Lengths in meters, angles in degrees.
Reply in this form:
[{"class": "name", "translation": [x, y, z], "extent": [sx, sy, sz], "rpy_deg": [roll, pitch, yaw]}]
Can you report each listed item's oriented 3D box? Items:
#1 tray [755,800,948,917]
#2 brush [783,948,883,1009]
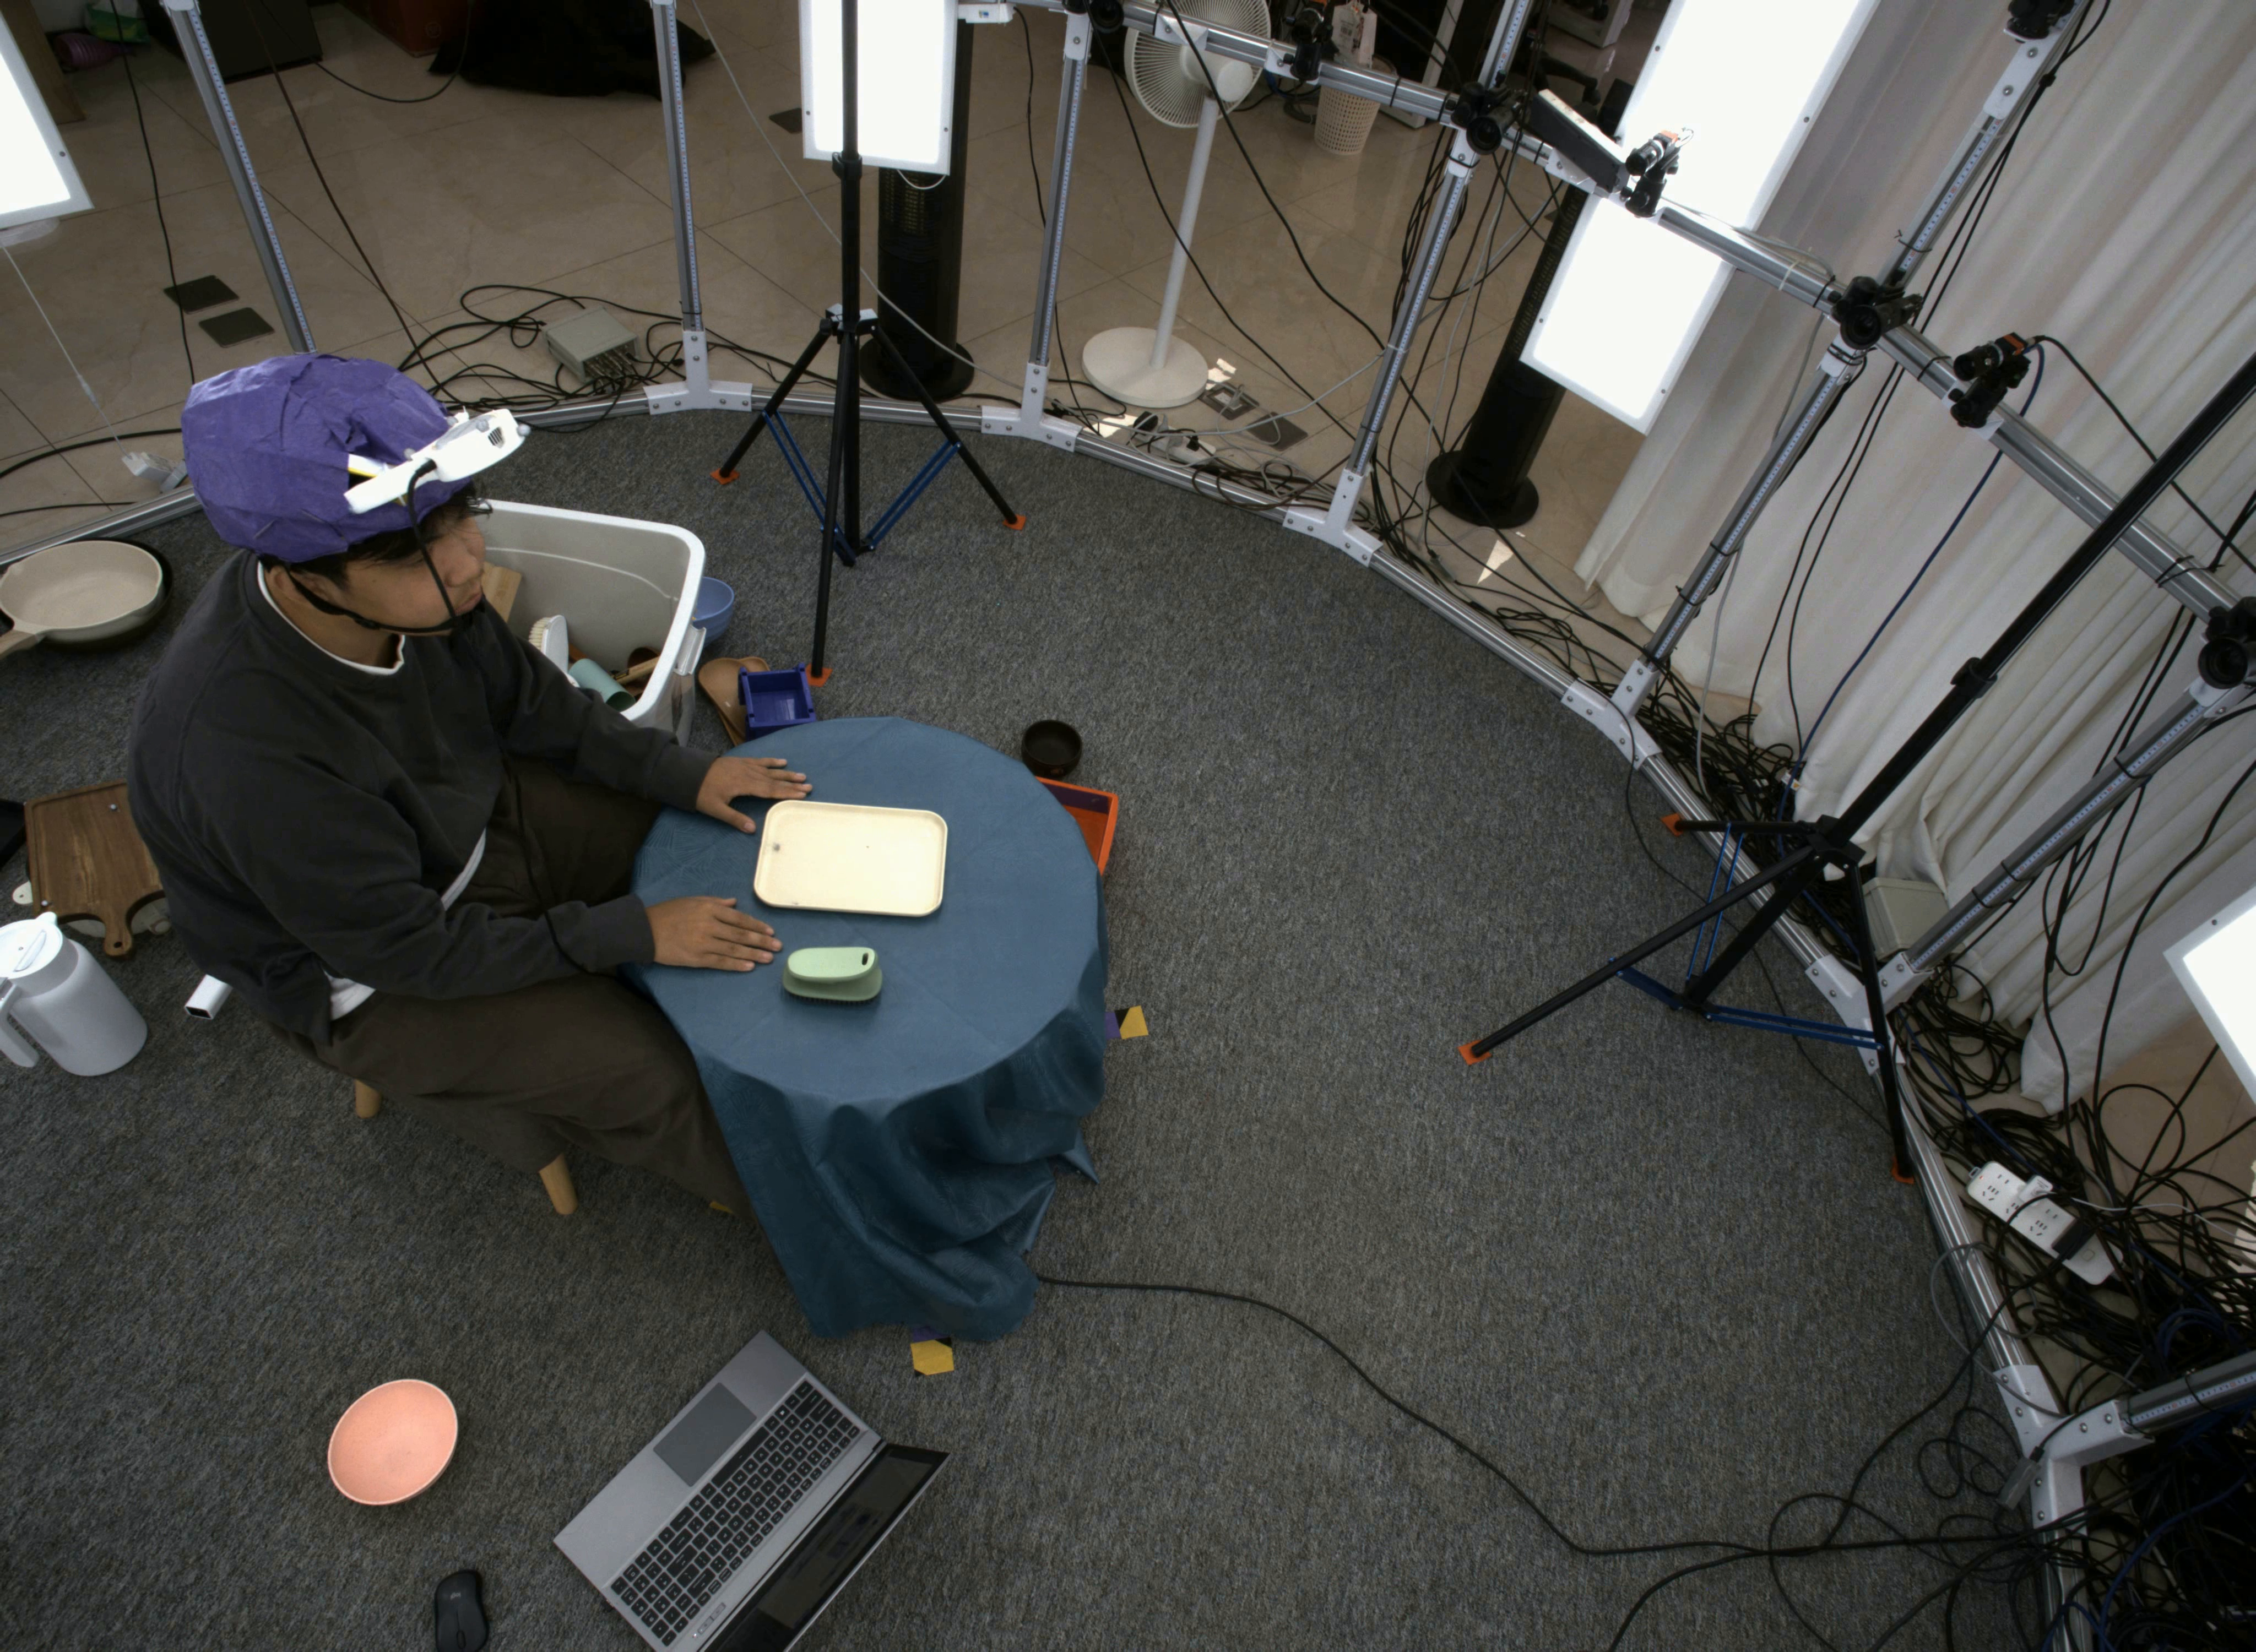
[{"class": "tray", "translation": [-0.357, 0.042, 1.693], "extent": [0.239, 0.018, 0.168], "rpy_deg": [5, 52, -10]}, {"class": "brush", "translation": [-0.354, 0.181, 1.568], "extent": [0.121, 0.078, 0.058], "rpy_deg": [-4, 51, 1]}]
